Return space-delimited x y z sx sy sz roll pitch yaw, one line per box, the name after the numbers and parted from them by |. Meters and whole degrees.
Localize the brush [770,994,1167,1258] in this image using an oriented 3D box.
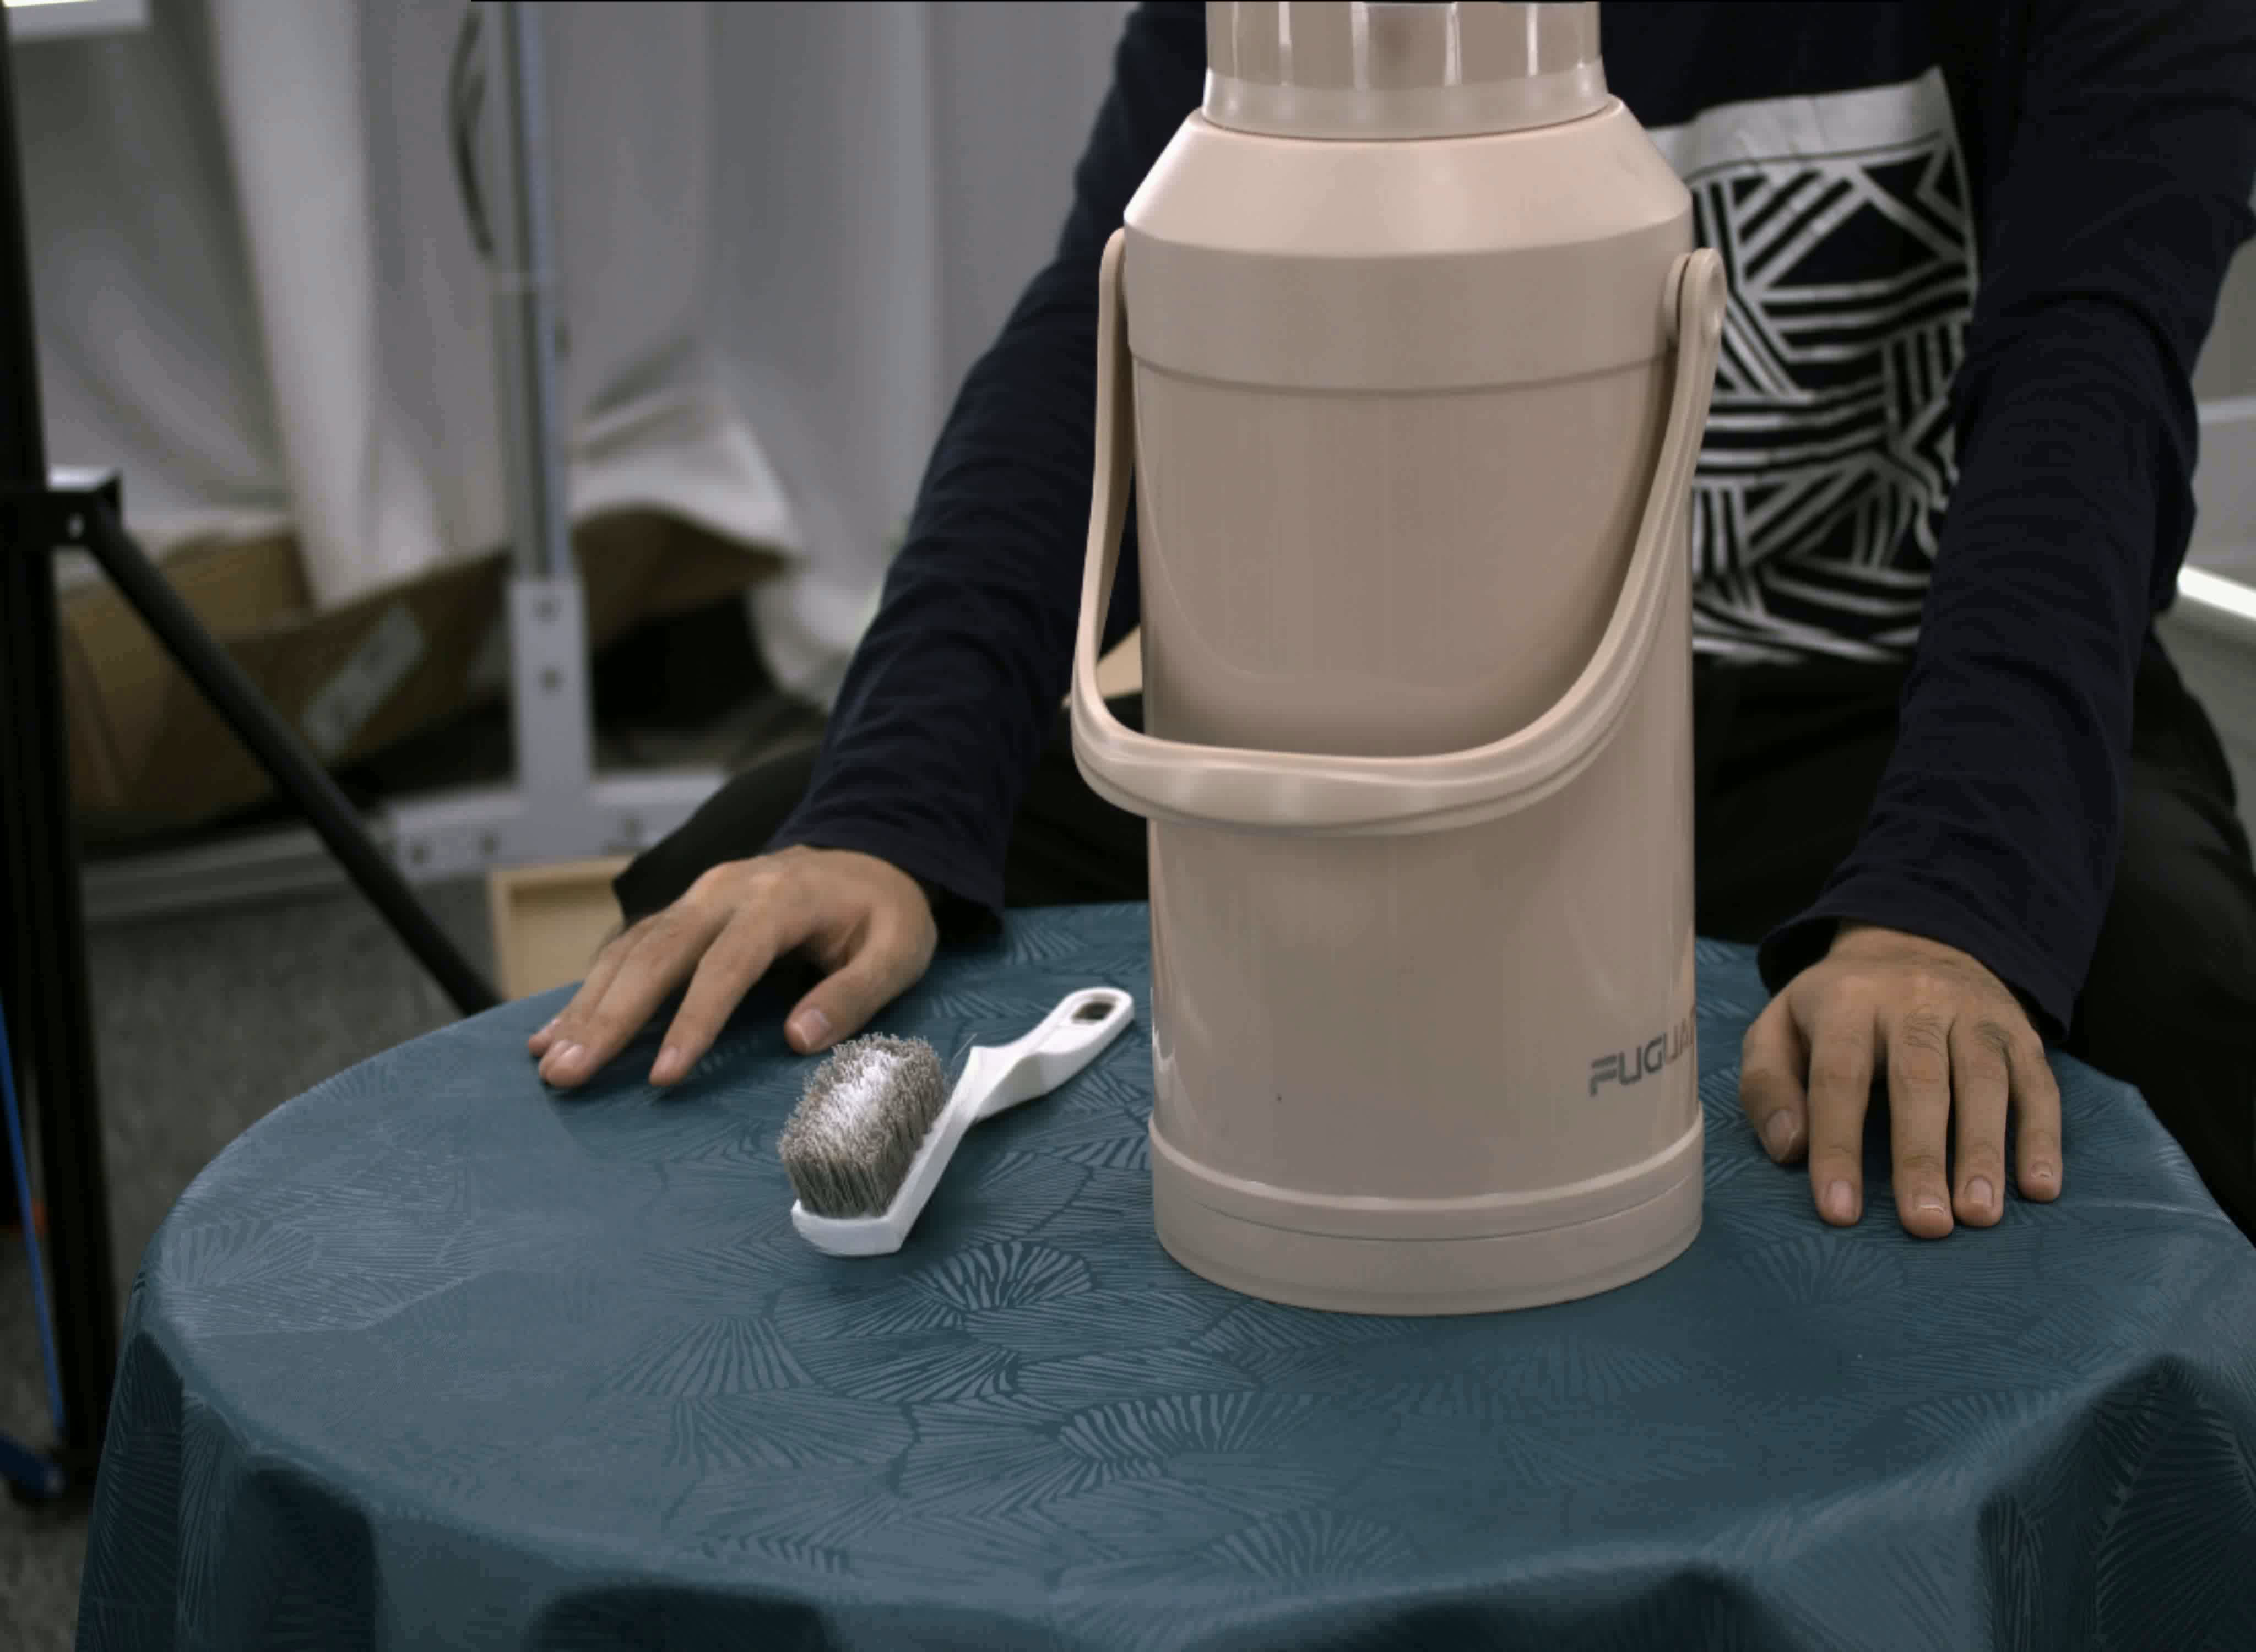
-0.043 0.071 1.611 0.035 0.050 0.240 -1 15 24 | brush

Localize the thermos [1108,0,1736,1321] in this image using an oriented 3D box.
0.089 -0.080 1.486 0.177 0.406 0.204 2 15 22 | thermos
